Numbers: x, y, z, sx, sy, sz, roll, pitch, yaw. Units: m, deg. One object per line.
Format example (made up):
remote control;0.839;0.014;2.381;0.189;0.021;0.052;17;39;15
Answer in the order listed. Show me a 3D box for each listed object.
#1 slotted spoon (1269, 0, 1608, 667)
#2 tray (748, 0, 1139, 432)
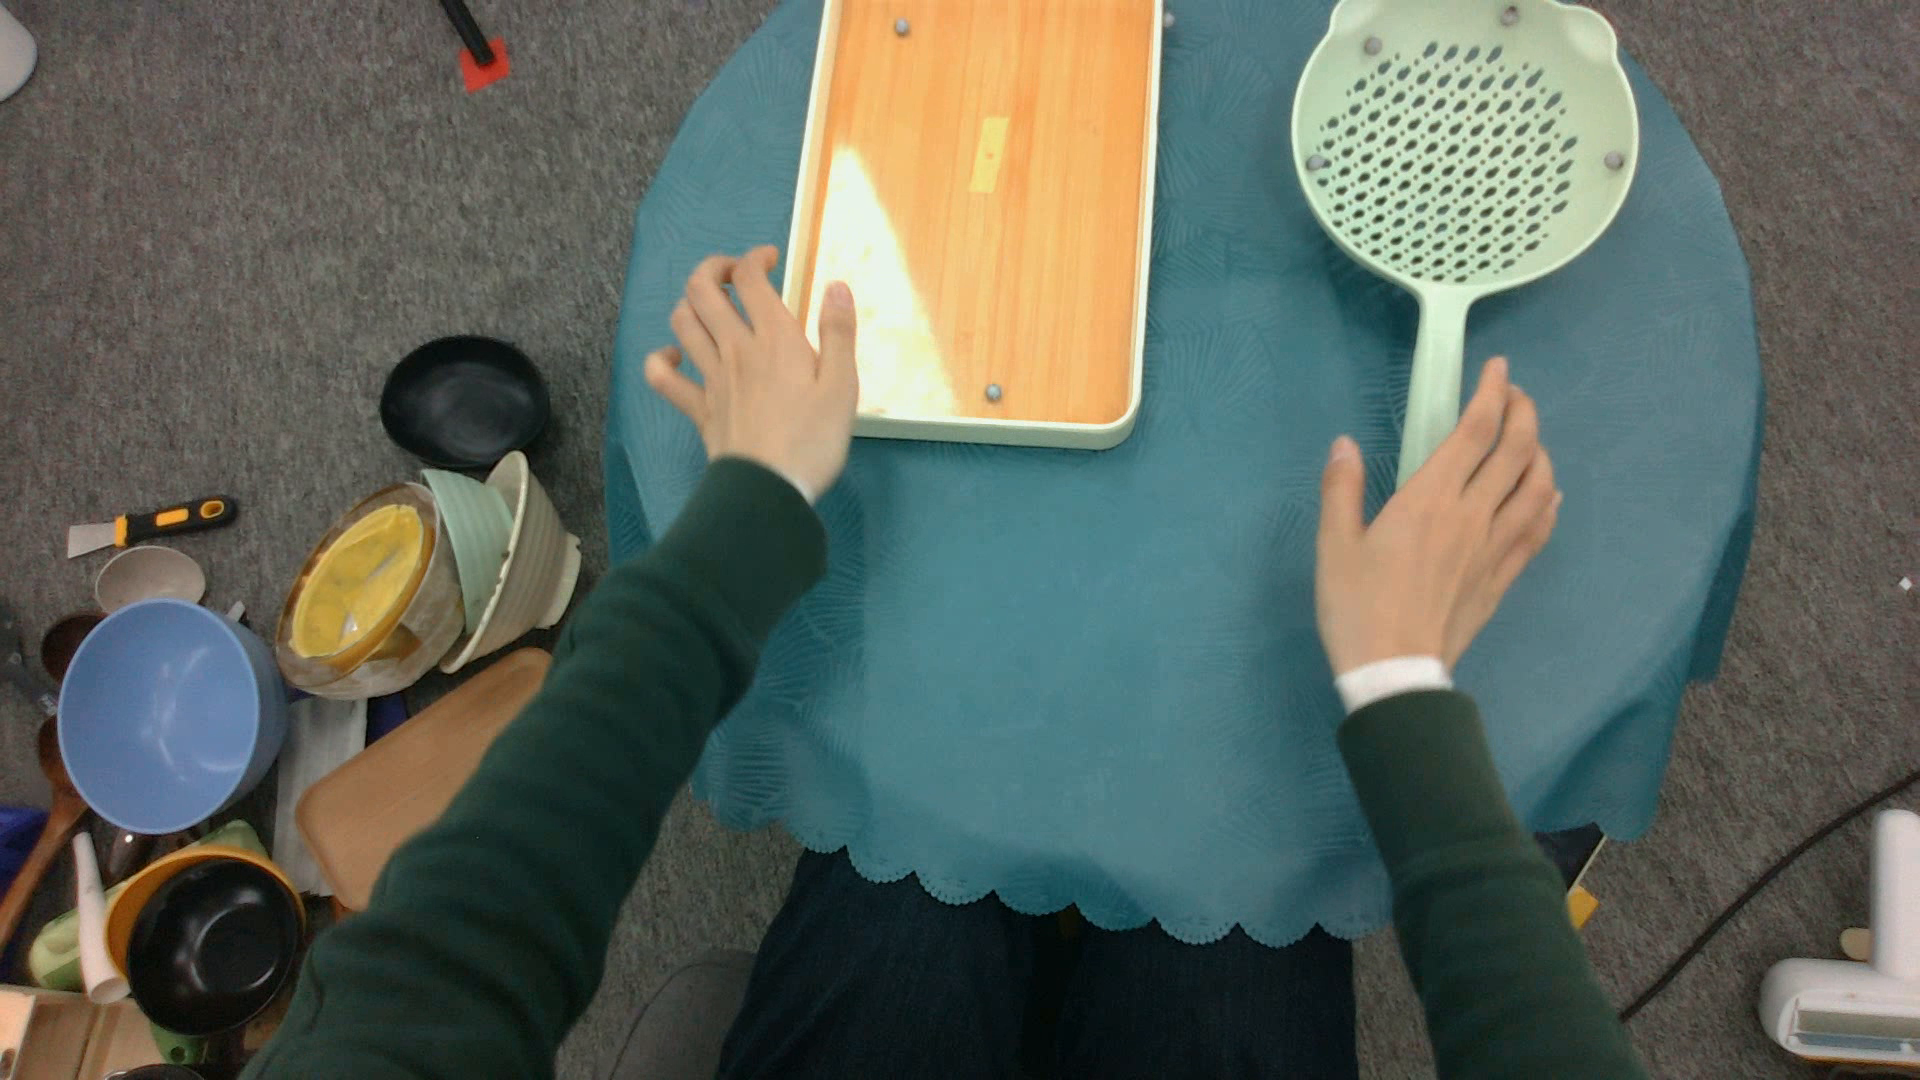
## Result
slotted spoon;0.228;-0.118;0.689;0.169;0.075;0.360;8;71;7
tray;-0.003;-0.203;0.753;0.191;0.027;0.301;4;70;4
